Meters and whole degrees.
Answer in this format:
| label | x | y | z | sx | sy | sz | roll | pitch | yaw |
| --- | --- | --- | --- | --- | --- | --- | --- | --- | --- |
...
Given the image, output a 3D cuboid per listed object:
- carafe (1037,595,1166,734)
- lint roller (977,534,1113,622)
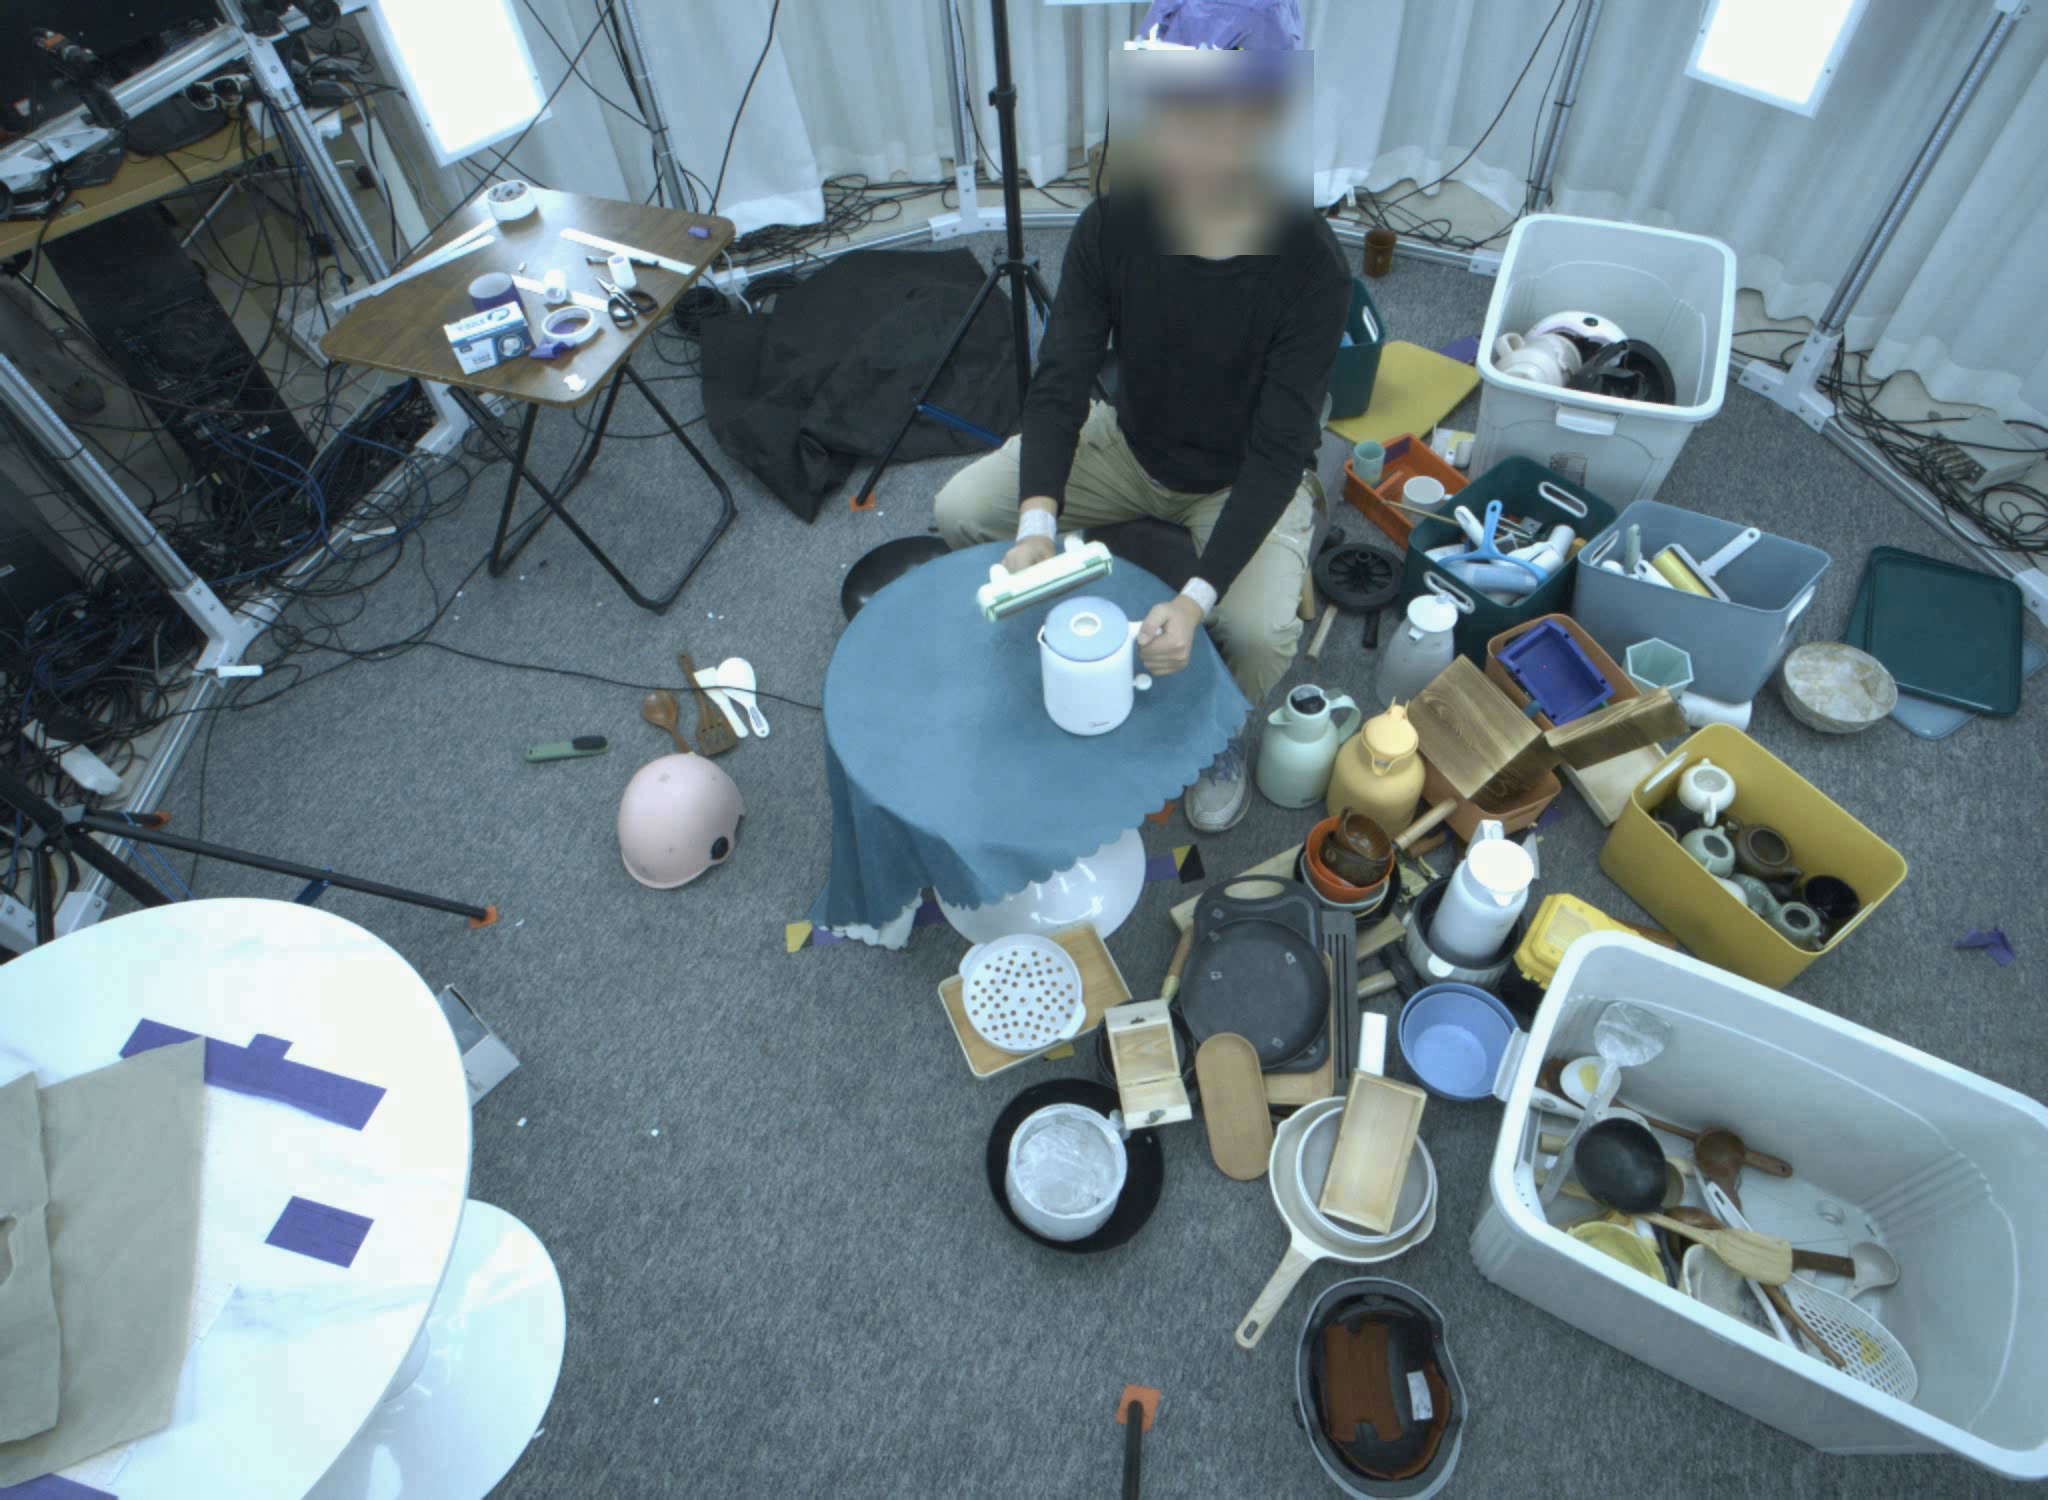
| label | x | y | z | sx | sy | sz | roll | pitch | yaw |
| --- | --- | --- | --- | --- | --- | --- | --- | --- | --- |
| carafe | 0.114 | -0.127 | 1.767 | 0.192 | 0.184 | 0.130 | -12 | 55 | -8 |
| lint roller | 0.015 | -0.263 | 1.790 | 0.199 | 0.083 | 0.180 | -22 | 23 | -6 |
